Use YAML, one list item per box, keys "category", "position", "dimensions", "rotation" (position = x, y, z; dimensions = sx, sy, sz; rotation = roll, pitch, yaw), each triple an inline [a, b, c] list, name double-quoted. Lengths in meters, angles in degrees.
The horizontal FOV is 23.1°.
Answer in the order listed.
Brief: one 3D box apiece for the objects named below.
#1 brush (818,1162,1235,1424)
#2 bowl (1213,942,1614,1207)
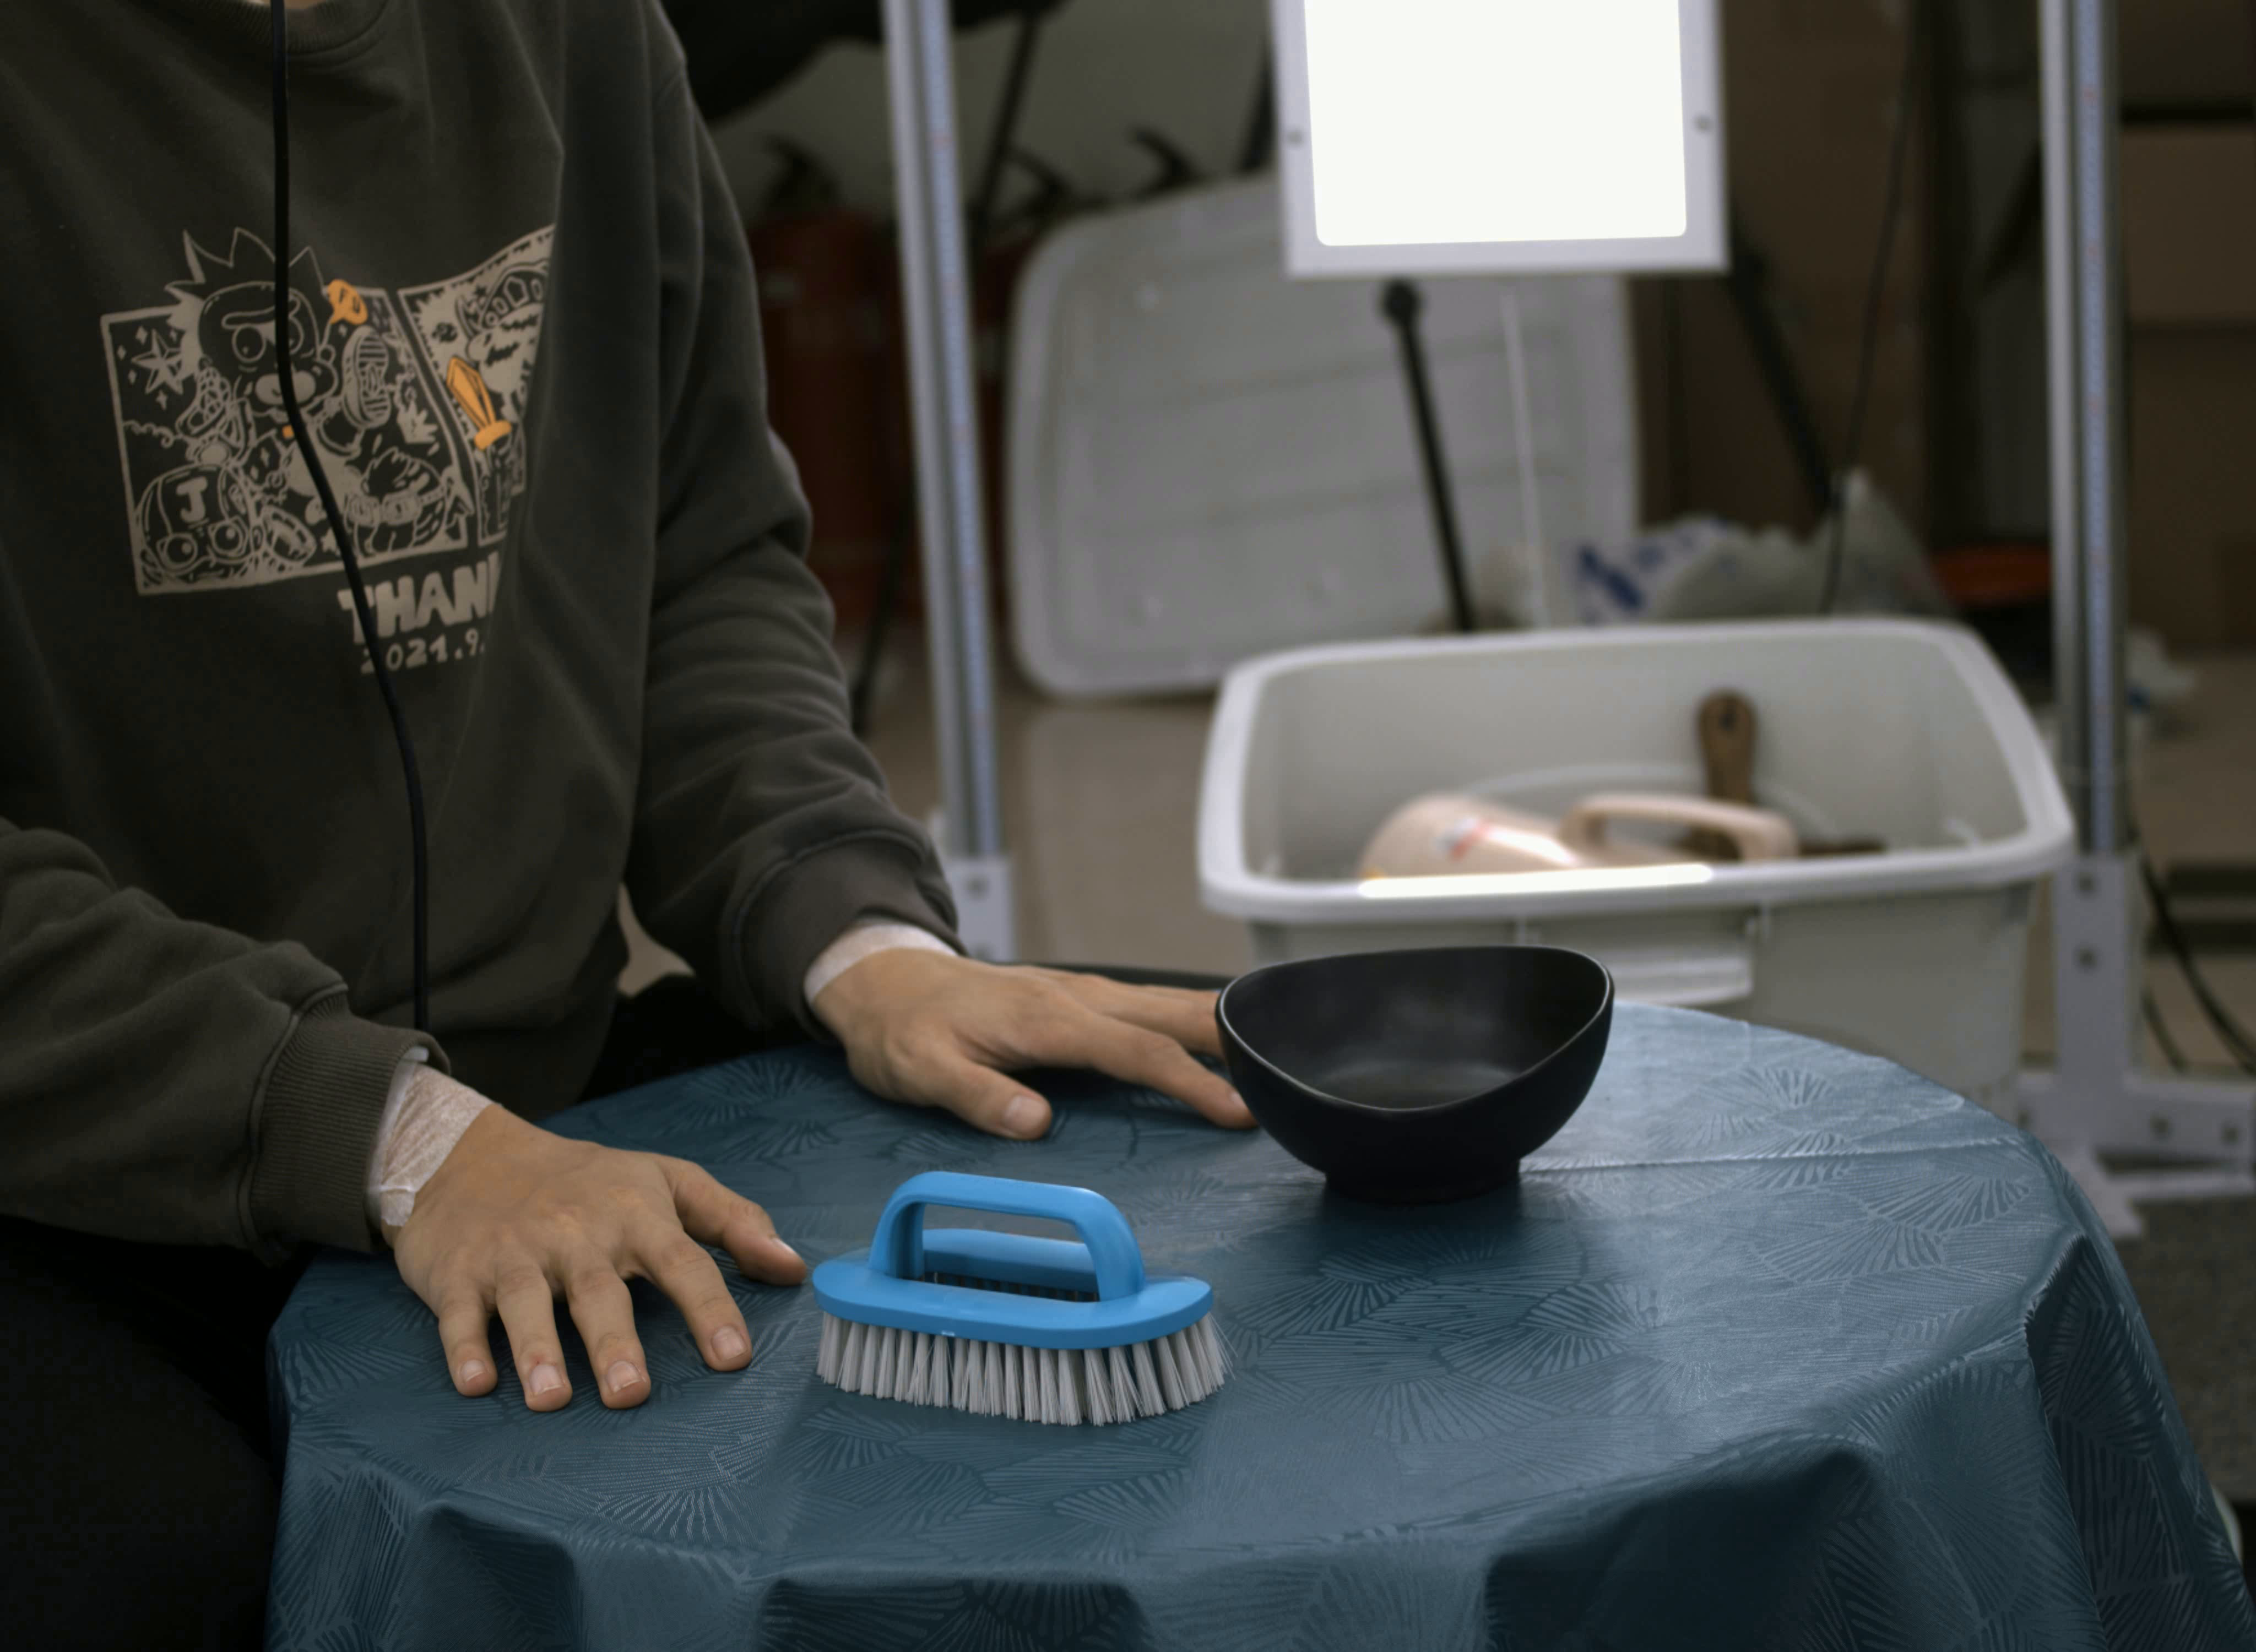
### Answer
- category: "brush"
  position: [-0.037, 0.139, 1.723]
  dimensions: [0.145, 0.064, 0.082]
  rotation: [4, 21, 36]
- category: "bowl"
  position: [0.100, 0.089, 1.882]
  dimensions: [0.137, 0.067, 0.169]
  rotation: [-5, 15, 4]
